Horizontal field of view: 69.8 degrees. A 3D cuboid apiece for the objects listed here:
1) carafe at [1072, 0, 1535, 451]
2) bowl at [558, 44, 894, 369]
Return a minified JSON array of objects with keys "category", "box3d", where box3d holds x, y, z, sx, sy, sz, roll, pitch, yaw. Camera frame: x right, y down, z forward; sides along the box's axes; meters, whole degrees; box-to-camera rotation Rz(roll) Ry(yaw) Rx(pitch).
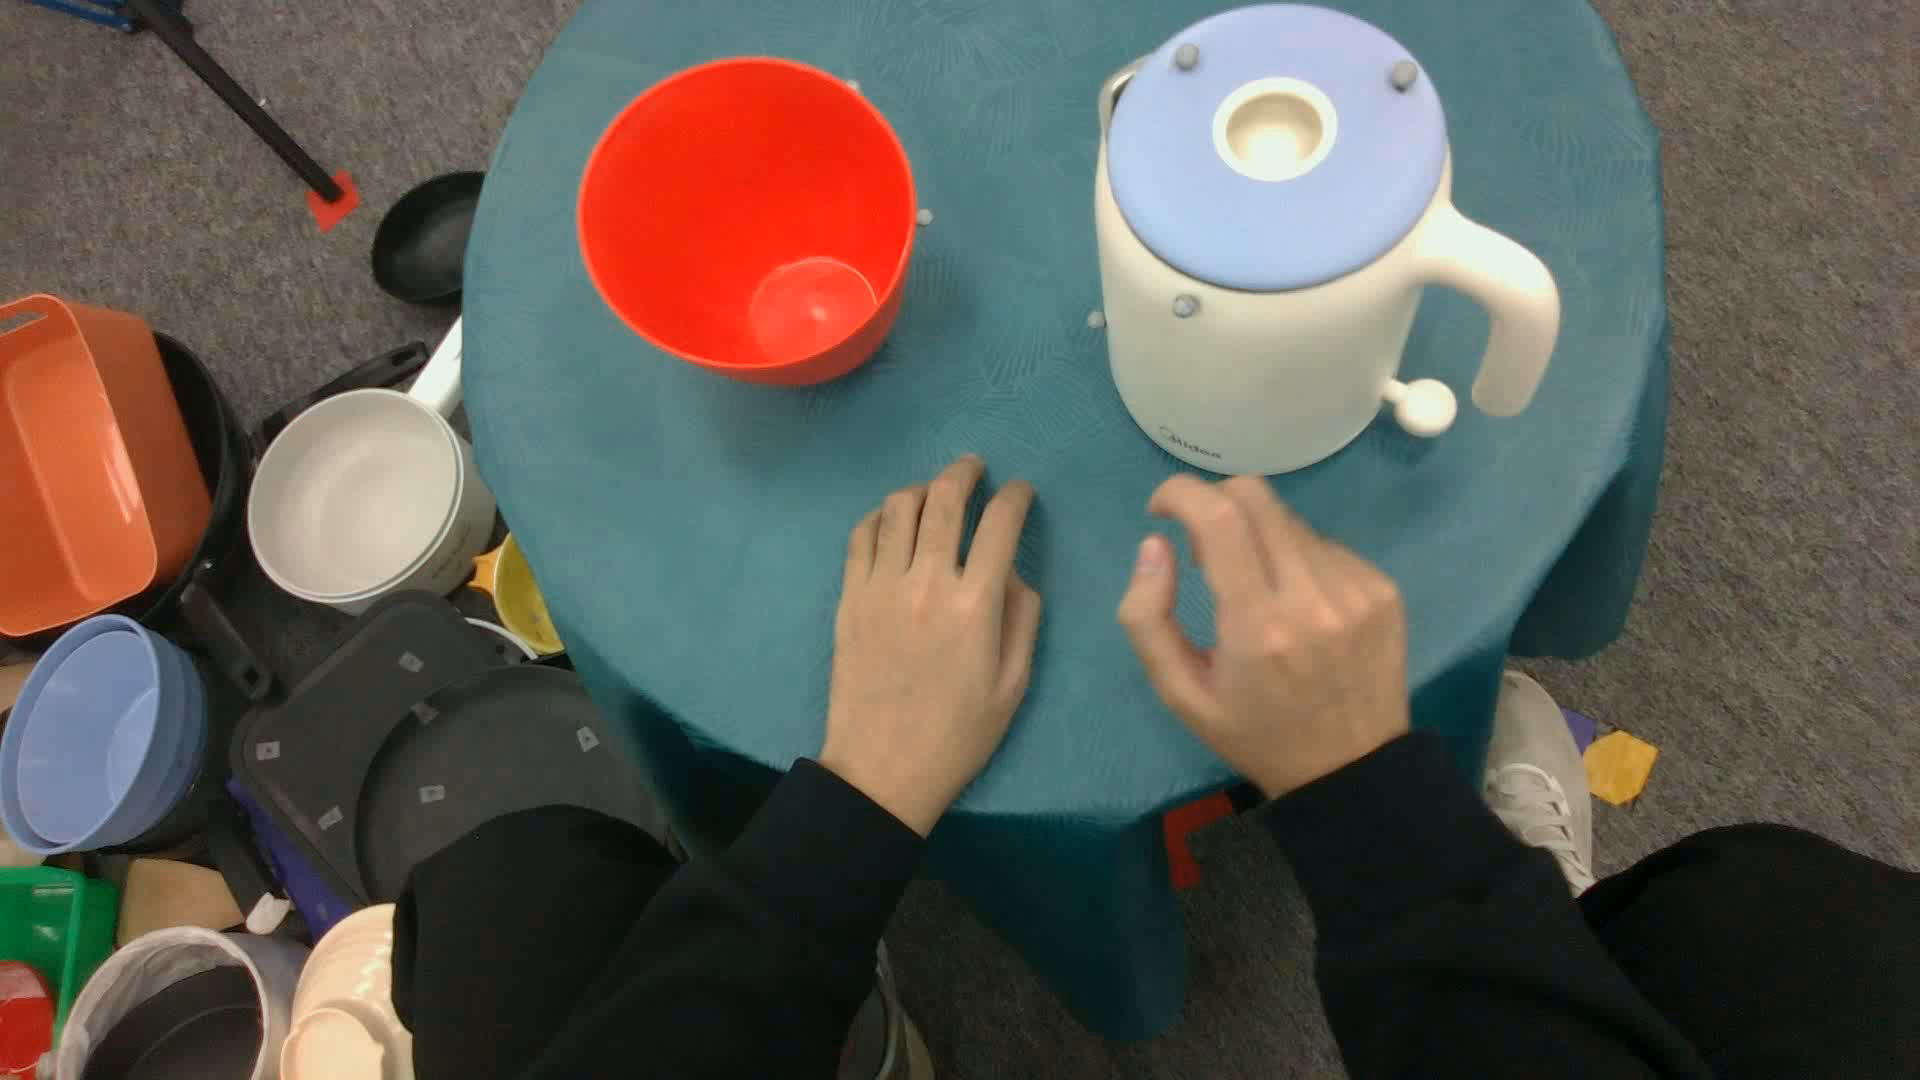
[{"category":"carafe","box3d":[0.136,-0.115,0.567,0.191,0.182,0.132,24,77,13]},{"category":"bowl","box3d":[-0.097,-0.141,0.645,0.148,0.104,0.148,-3,70,7]}]
